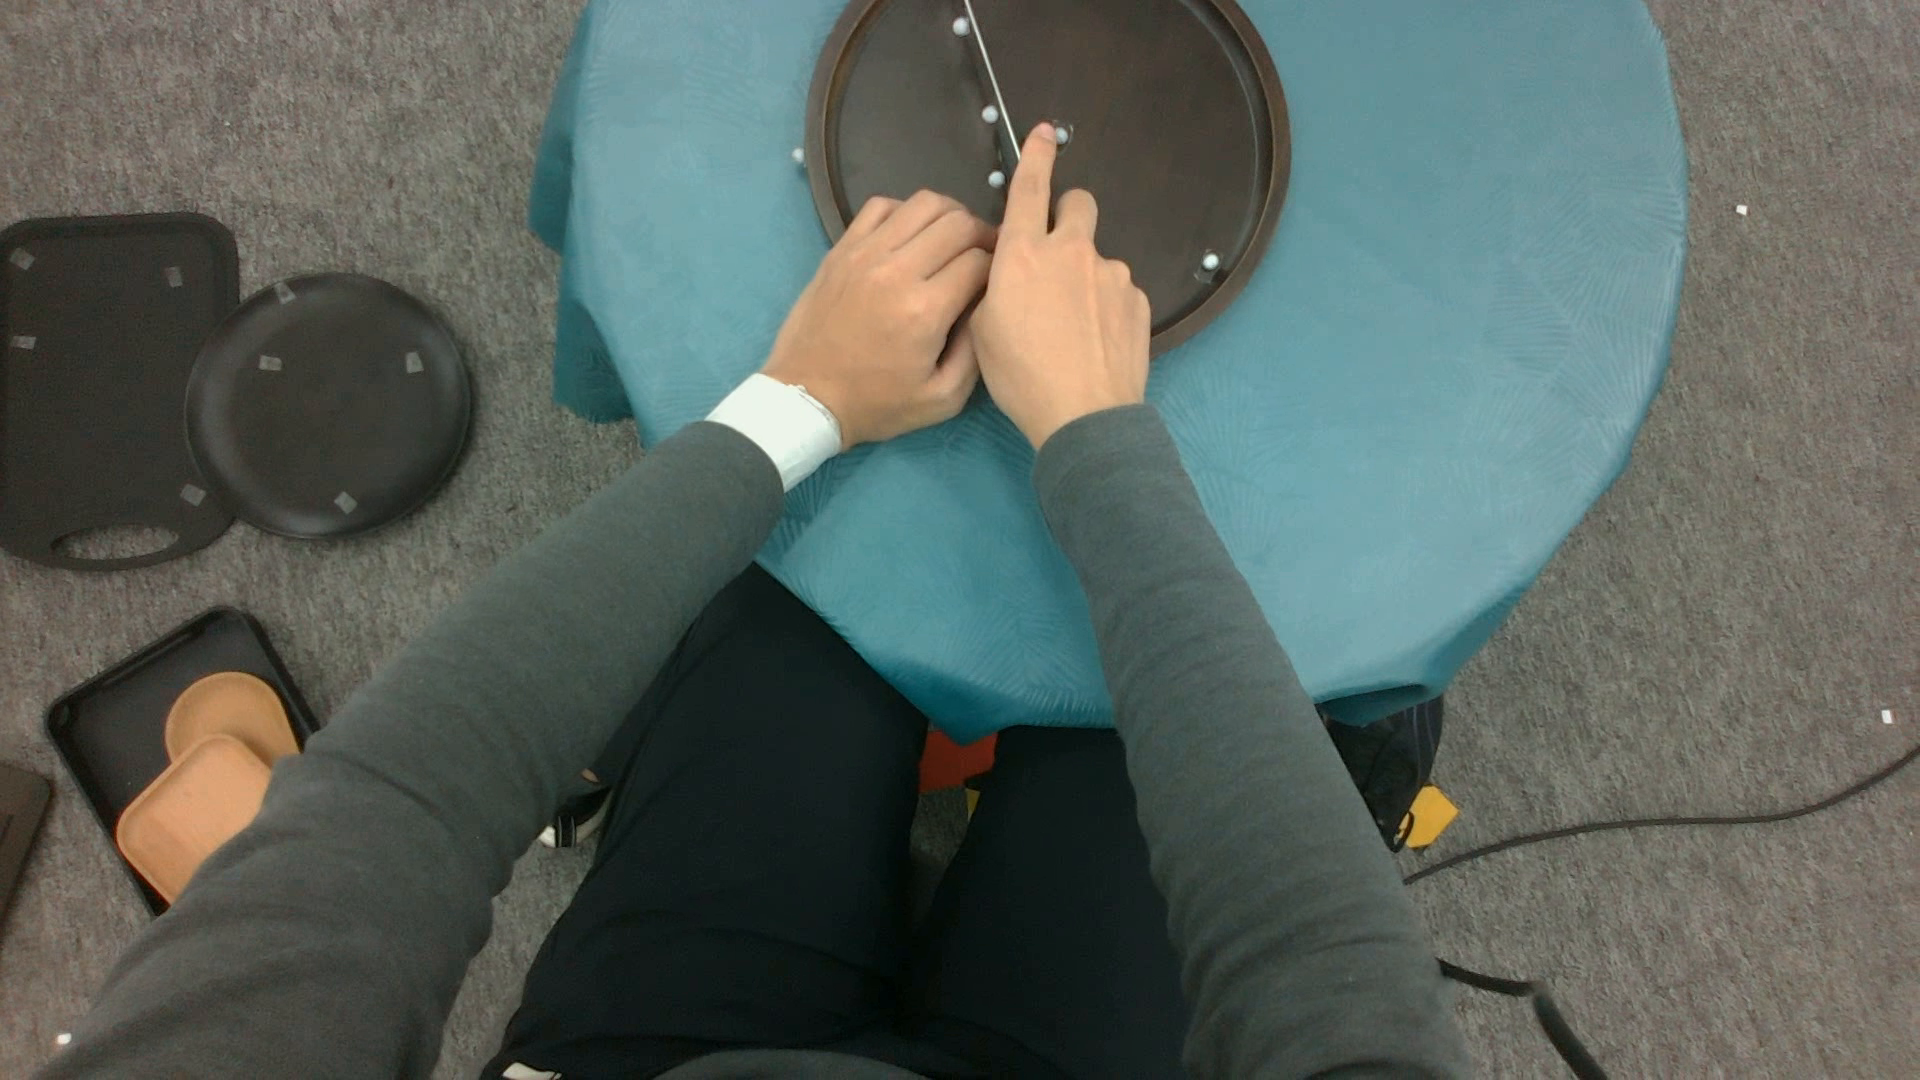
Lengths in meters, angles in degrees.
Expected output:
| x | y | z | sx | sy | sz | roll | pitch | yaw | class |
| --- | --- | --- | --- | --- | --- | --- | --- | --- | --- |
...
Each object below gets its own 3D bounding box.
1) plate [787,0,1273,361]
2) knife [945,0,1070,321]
| x | y | z | sx | sy | sz | roll | pitch | yaw | class |
| --- | --- | --- | --- | --- | --- | --- | --- | --- | --- |
| 0.038 | -0.215 | 0.719 | 0.255 | 0.029 | 0.255 | 1 | 80 | -4 | plate |
| 0.013 | -0.220 | 0.693 | 0.016 | 0.024 | 0.238 | -18 | 78 | 0 | knife |
